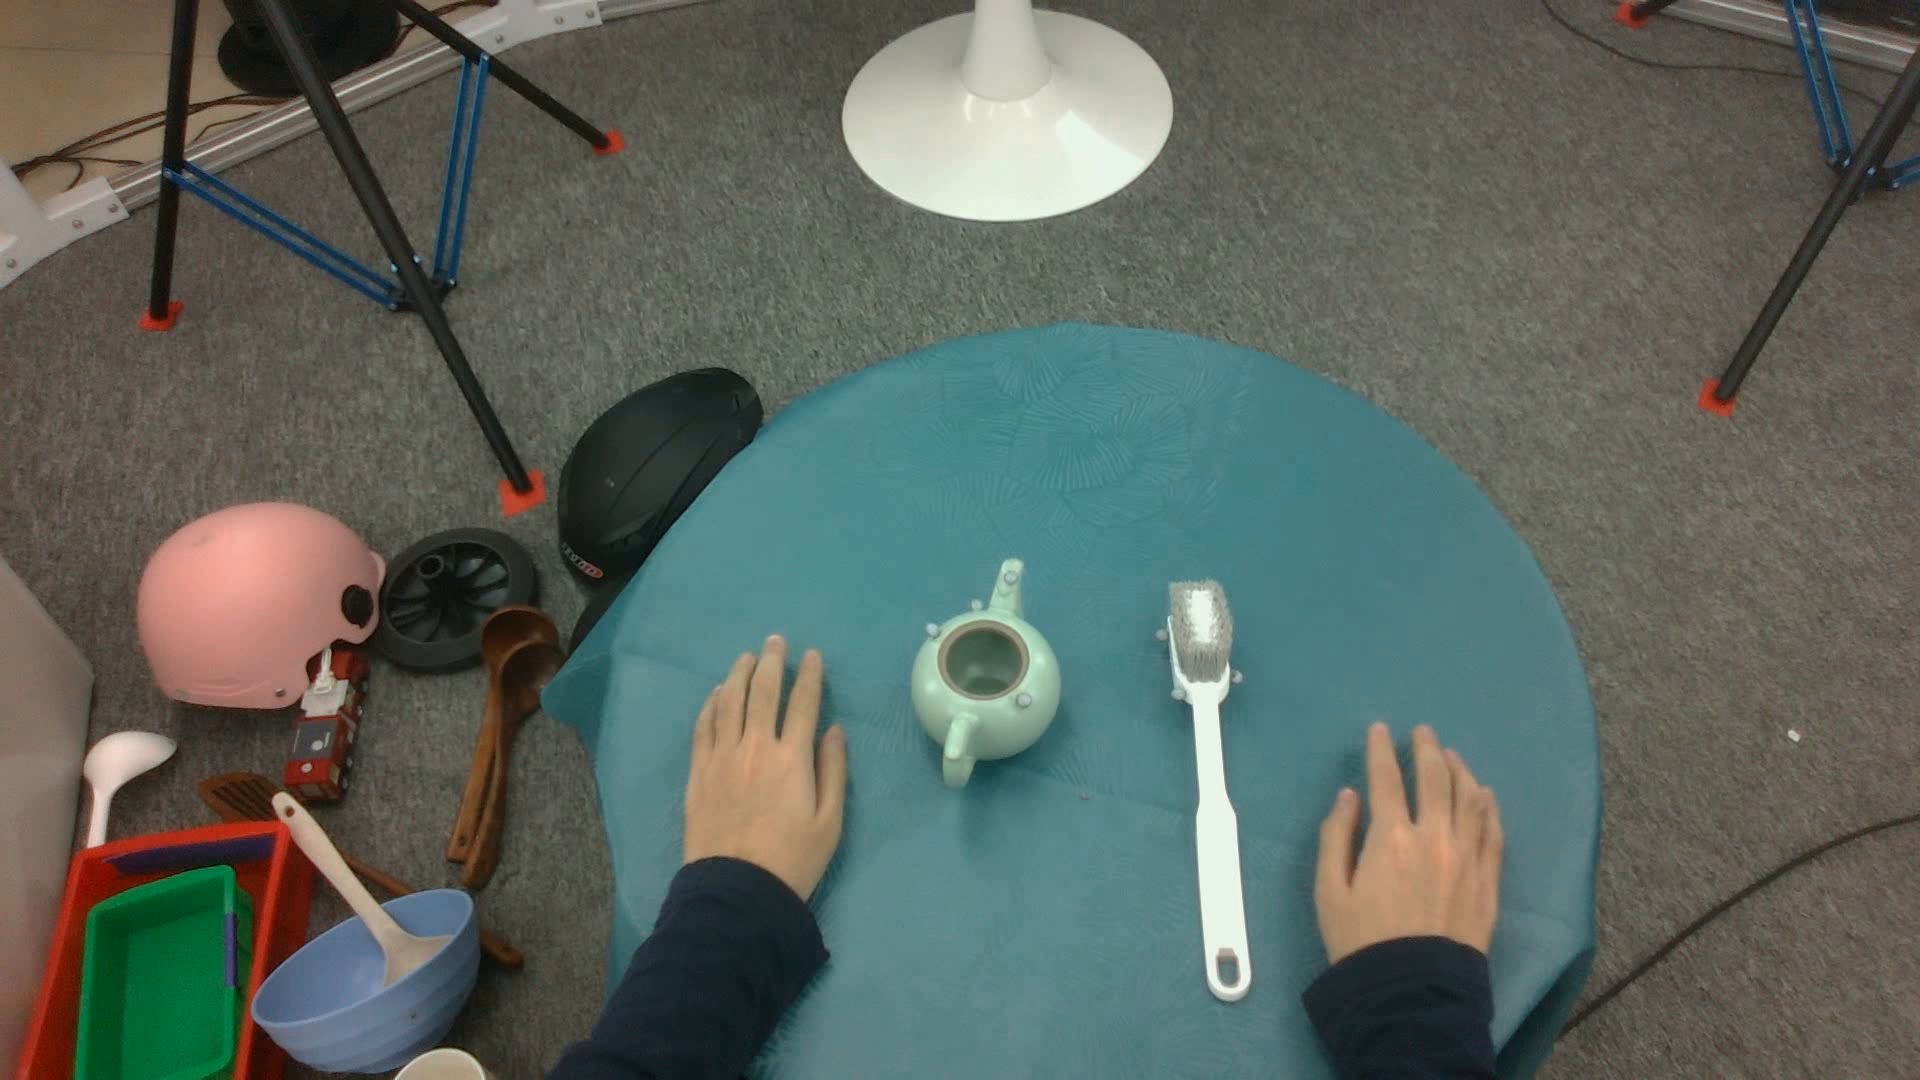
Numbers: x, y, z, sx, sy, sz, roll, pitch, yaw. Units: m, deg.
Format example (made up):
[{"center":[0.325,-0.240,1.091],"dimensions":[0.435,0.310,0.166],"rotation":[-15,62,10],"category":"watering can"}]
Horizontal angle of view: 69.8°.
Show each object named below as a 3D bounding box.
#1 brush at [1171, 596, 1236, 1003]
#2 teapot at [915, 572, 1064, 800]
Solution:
[{"center":[0.143,0.137,0.790],"dimensions":[0.034,0.050,0.245],"rotation":[4,54,1],"category":"brush"},{"center":[0.017,0.093,0.816],"dimensions":[0.088,0.074,0.144],"rotation":[14,54,13],"category":"teapot"}]
